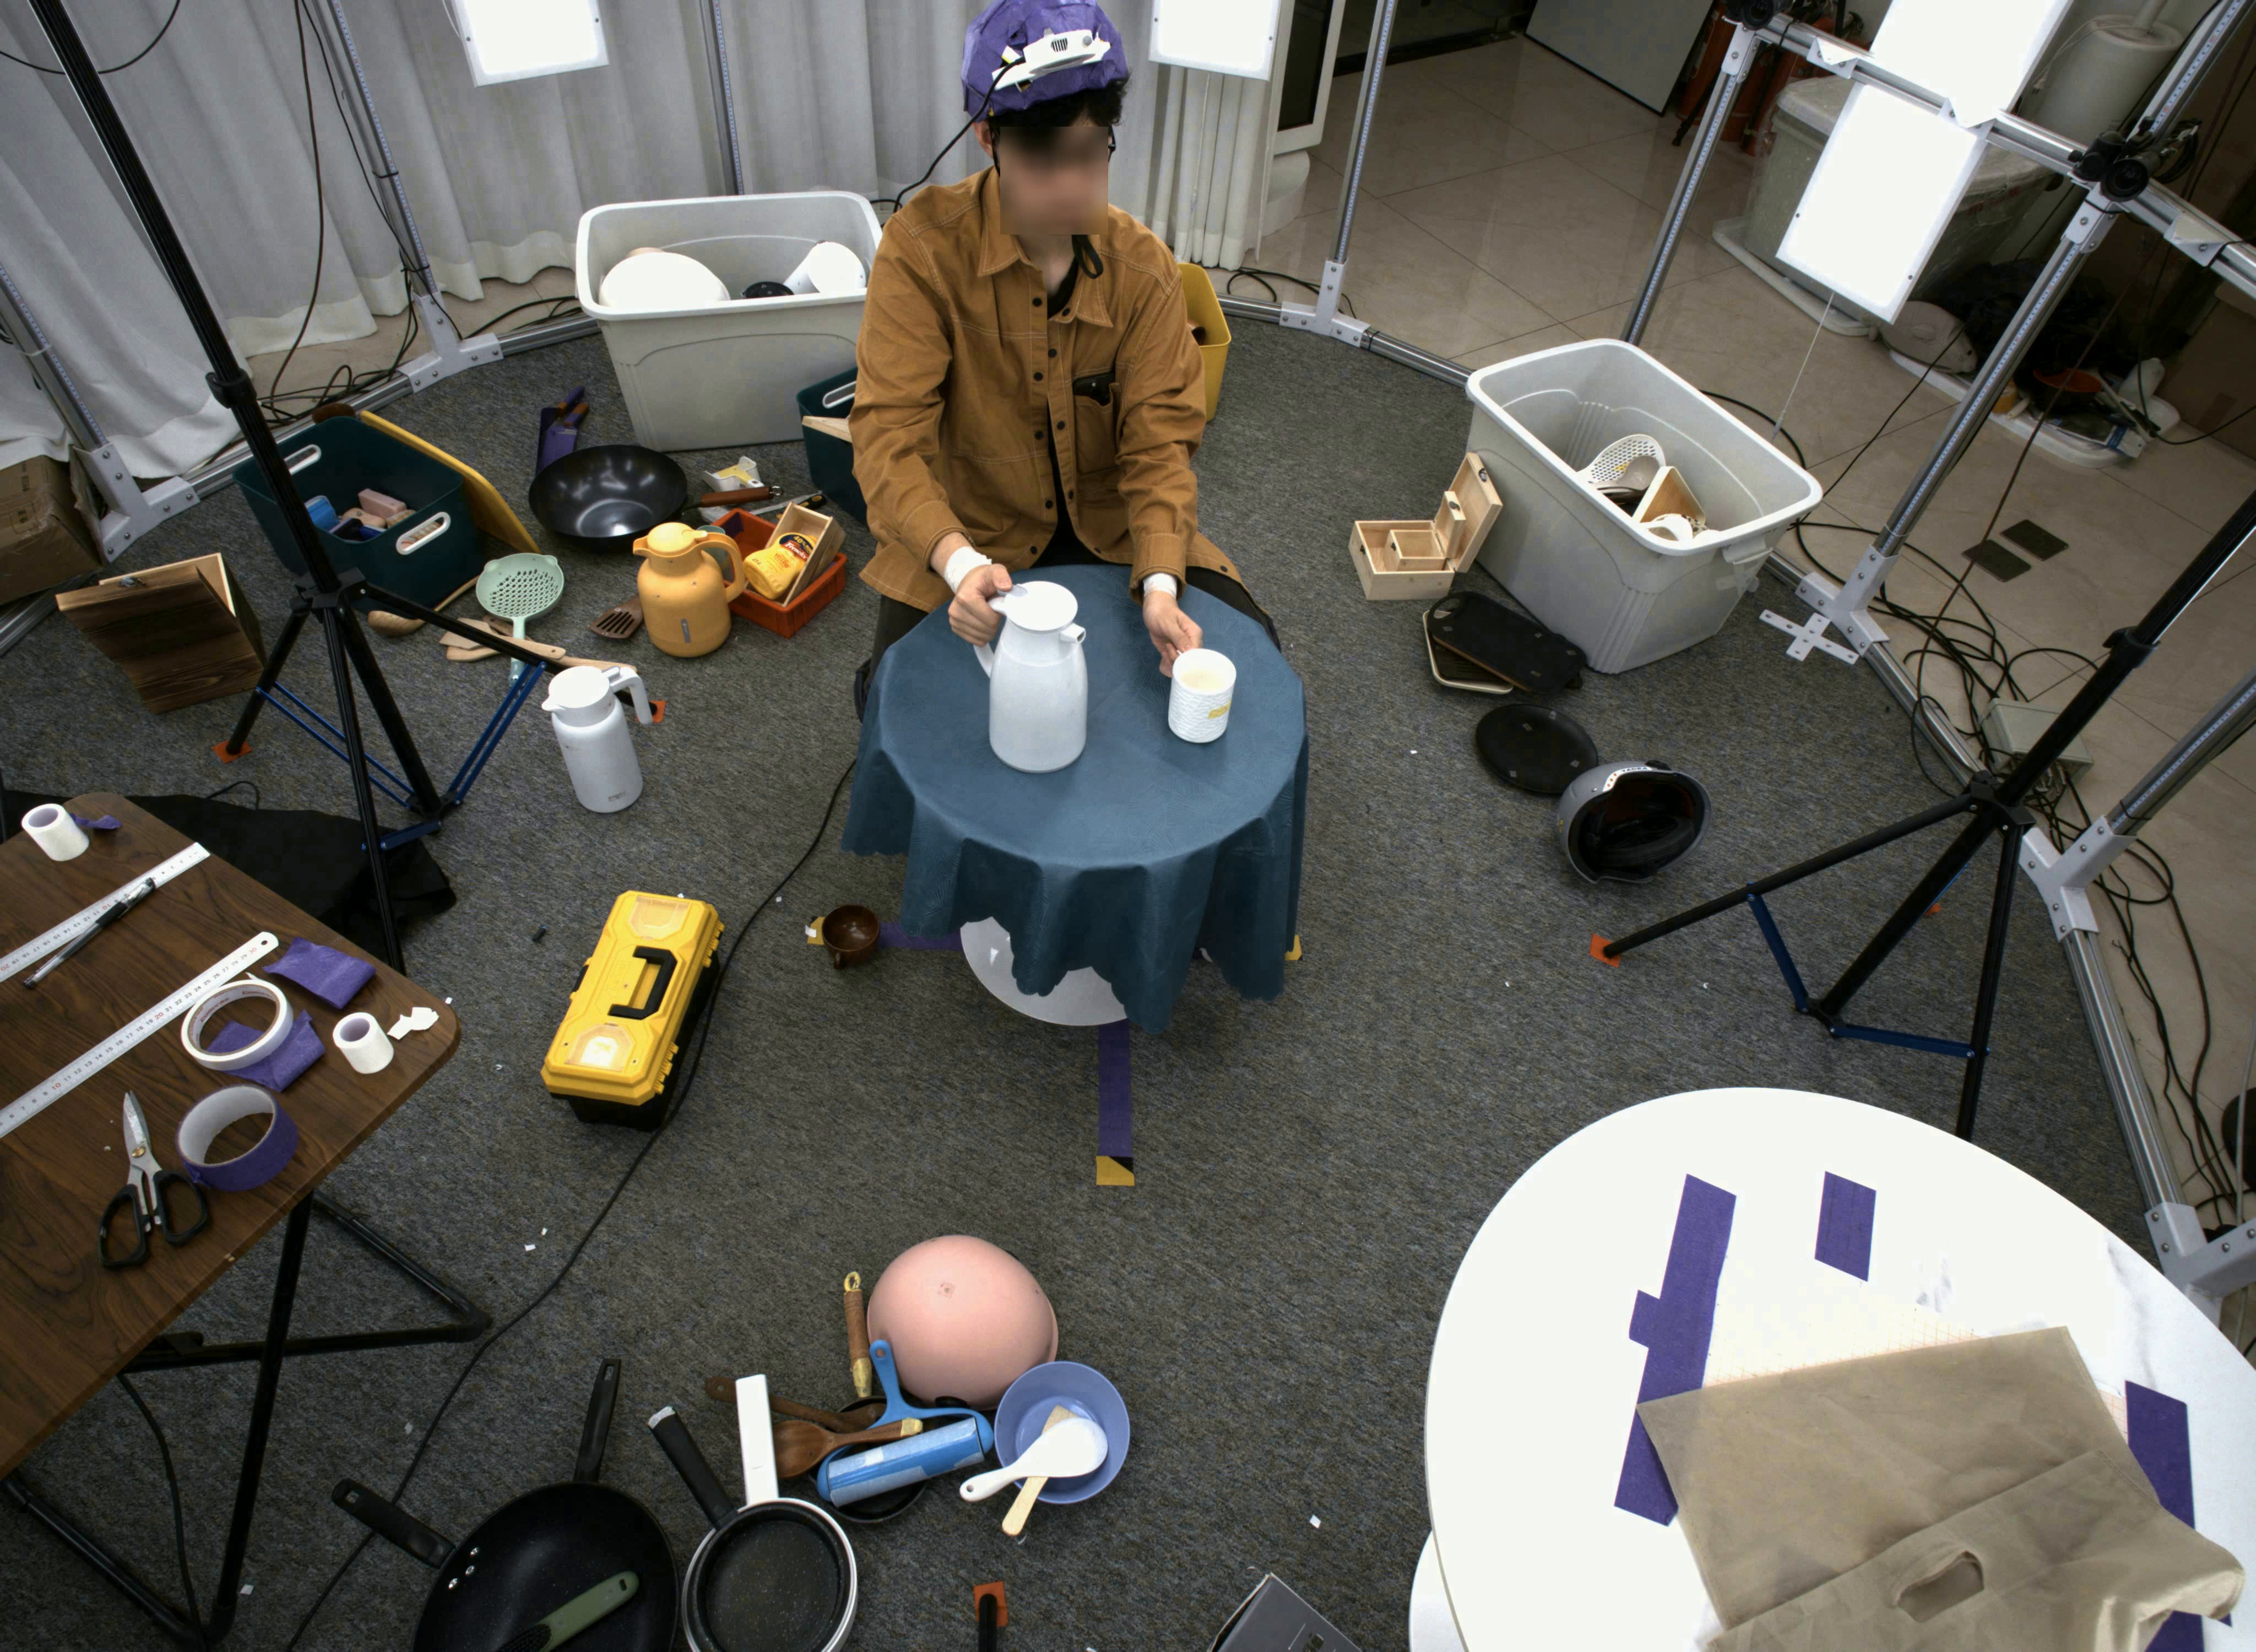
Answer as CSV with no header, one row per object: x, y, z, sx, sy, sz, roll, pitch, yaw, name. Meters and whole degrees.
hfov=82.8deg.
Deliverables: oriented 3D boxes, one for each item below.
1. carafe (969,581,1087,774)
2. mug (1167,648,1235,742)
-0.134,-0.206,1.680,0.169,0.242,0.134,27,53,18,carafe
0.092,-0.189,1.773,0.085,0.099,0.121,-17,52,-19,mug
